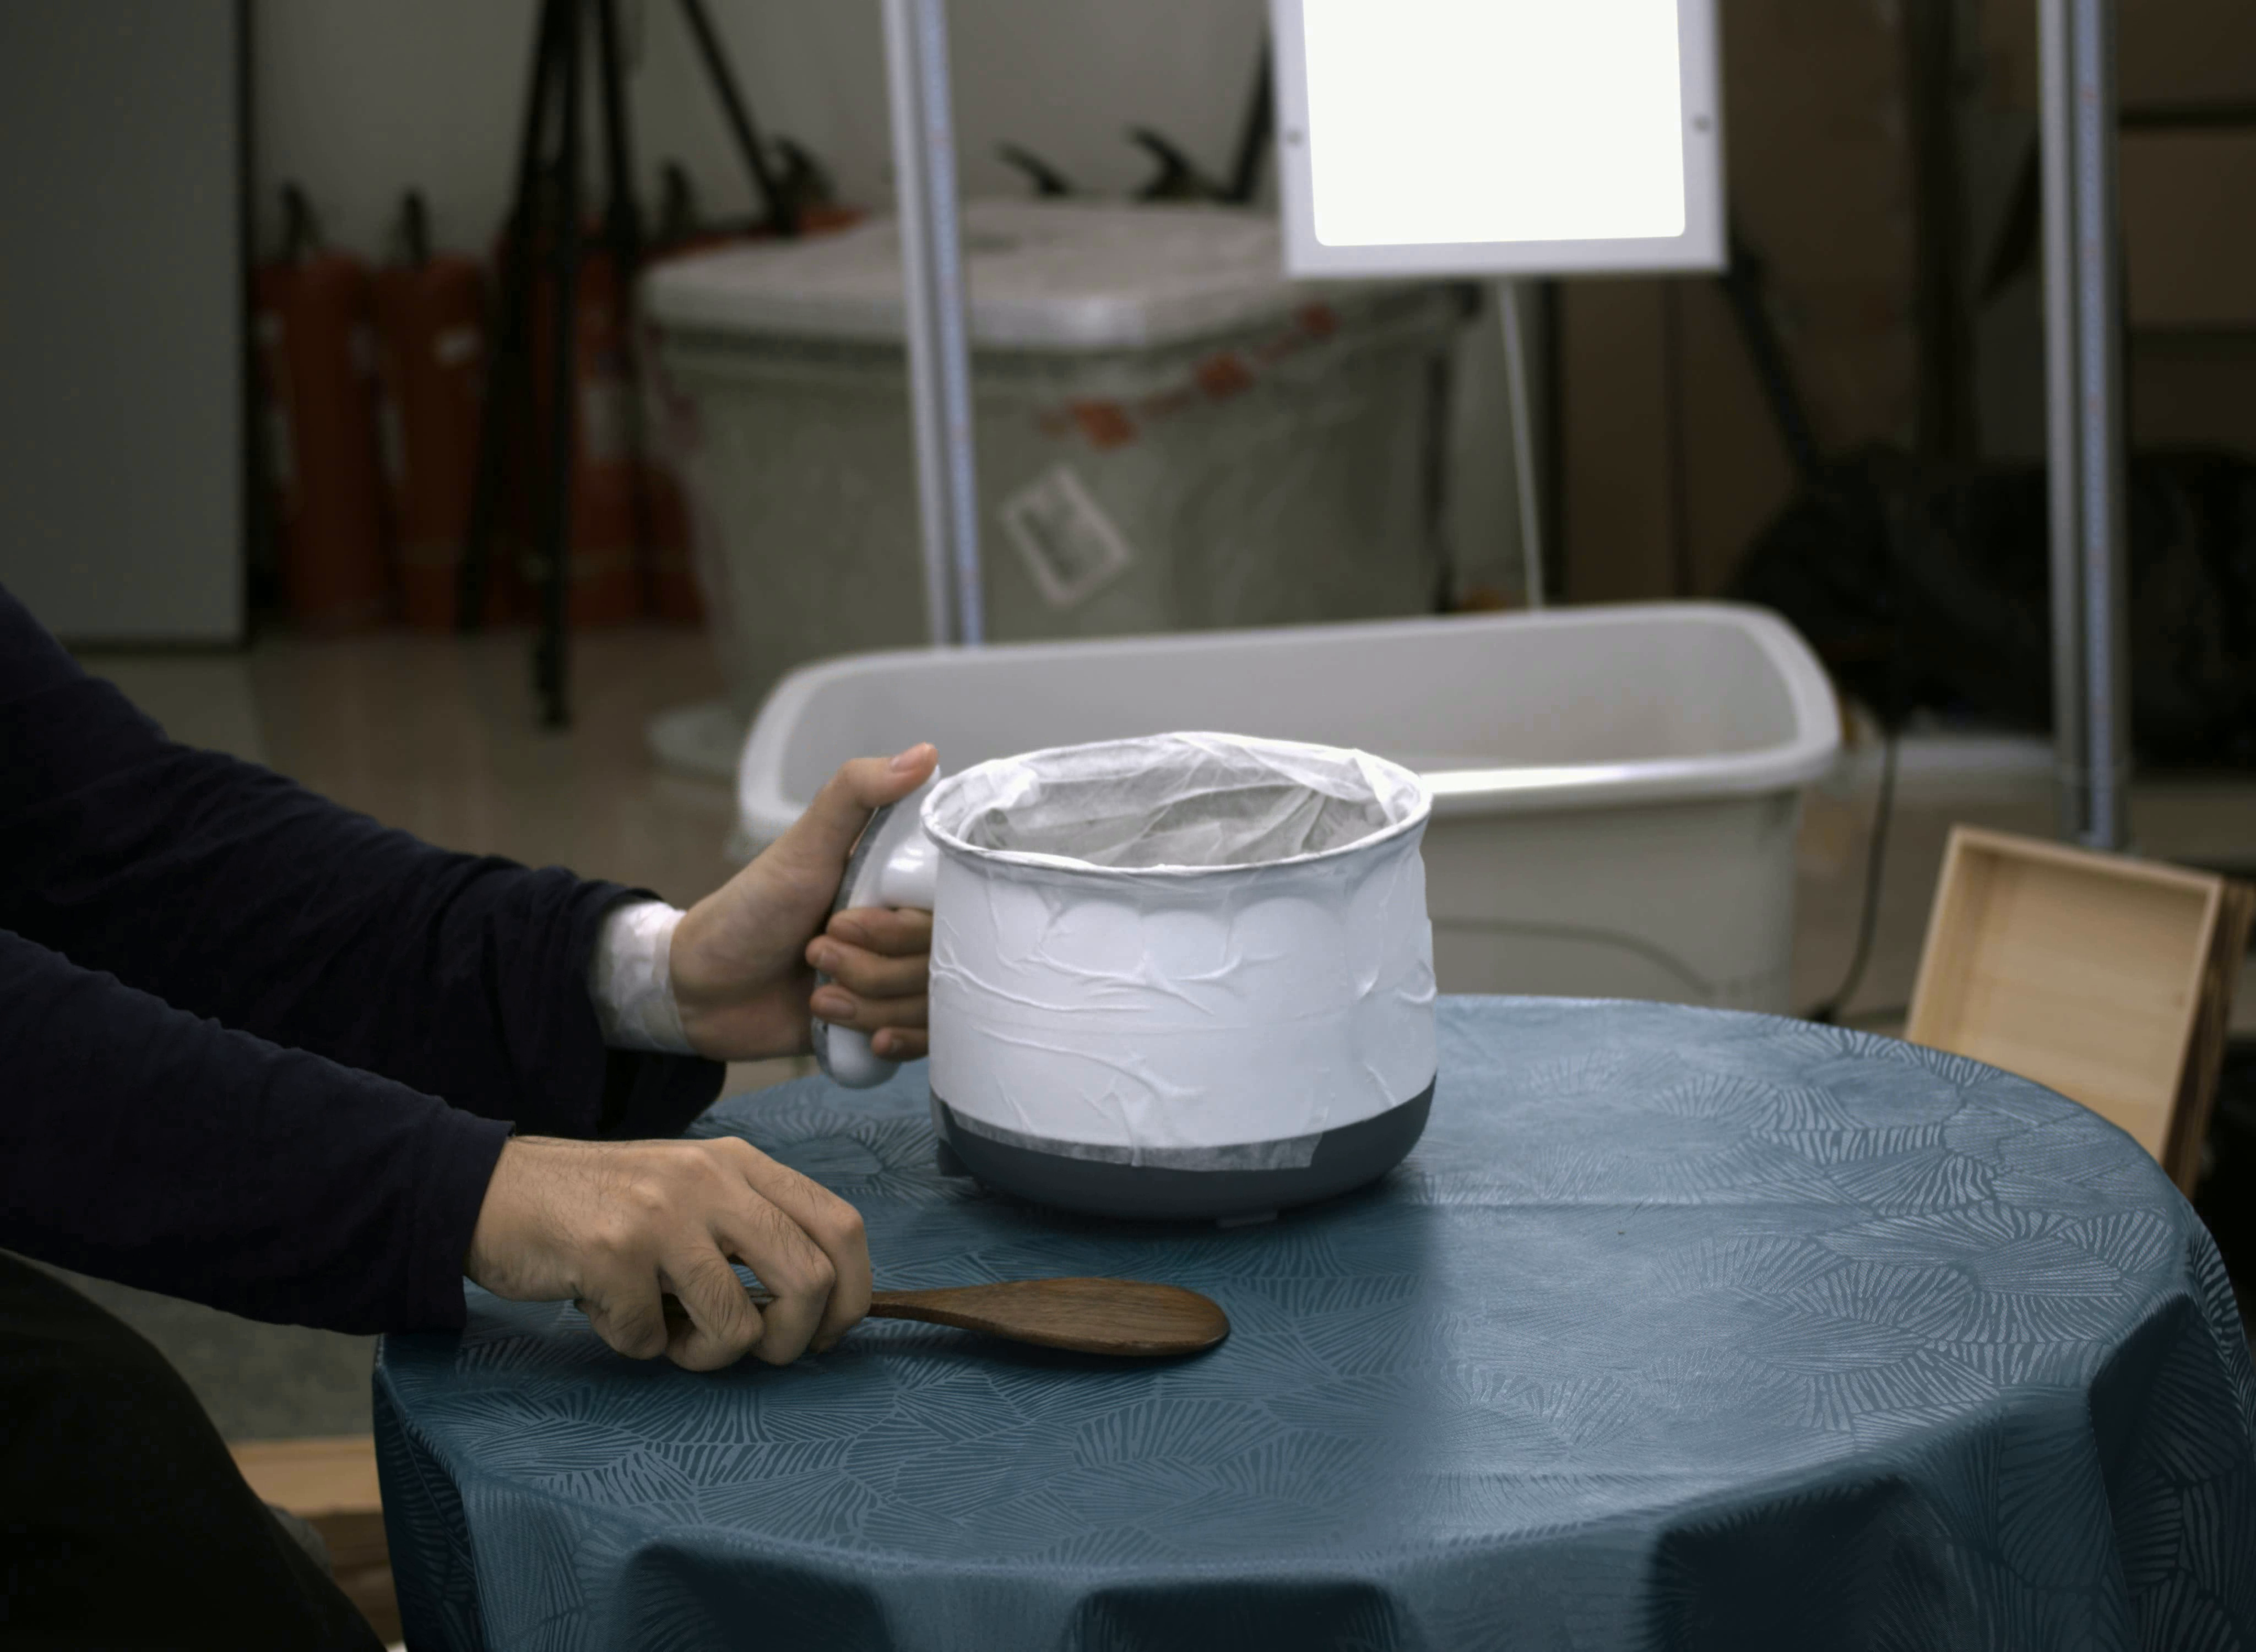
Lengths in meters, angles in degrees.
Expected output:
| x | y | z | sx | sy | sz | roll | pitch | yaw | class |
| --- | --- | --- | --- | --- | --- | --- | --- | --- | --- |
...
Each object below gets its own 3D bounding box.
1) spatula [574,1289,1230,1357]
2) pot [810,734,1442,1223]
| x | y | z | sx | sy | sz | roll | pitch | yaw | class |
| --- | --- | --- | --- | --- | --- | --- | --- | --- | --- |
| -0.073 | 0.157 | 1.769 | 0.217 | 0.009 | 0.071 | 1 | 9 | 14 | spatula |
| -0.006 | 0.048 | 1.914 | 0.237 | 0.137 | 0.175 | 7 | 16 | 27 | pot |
